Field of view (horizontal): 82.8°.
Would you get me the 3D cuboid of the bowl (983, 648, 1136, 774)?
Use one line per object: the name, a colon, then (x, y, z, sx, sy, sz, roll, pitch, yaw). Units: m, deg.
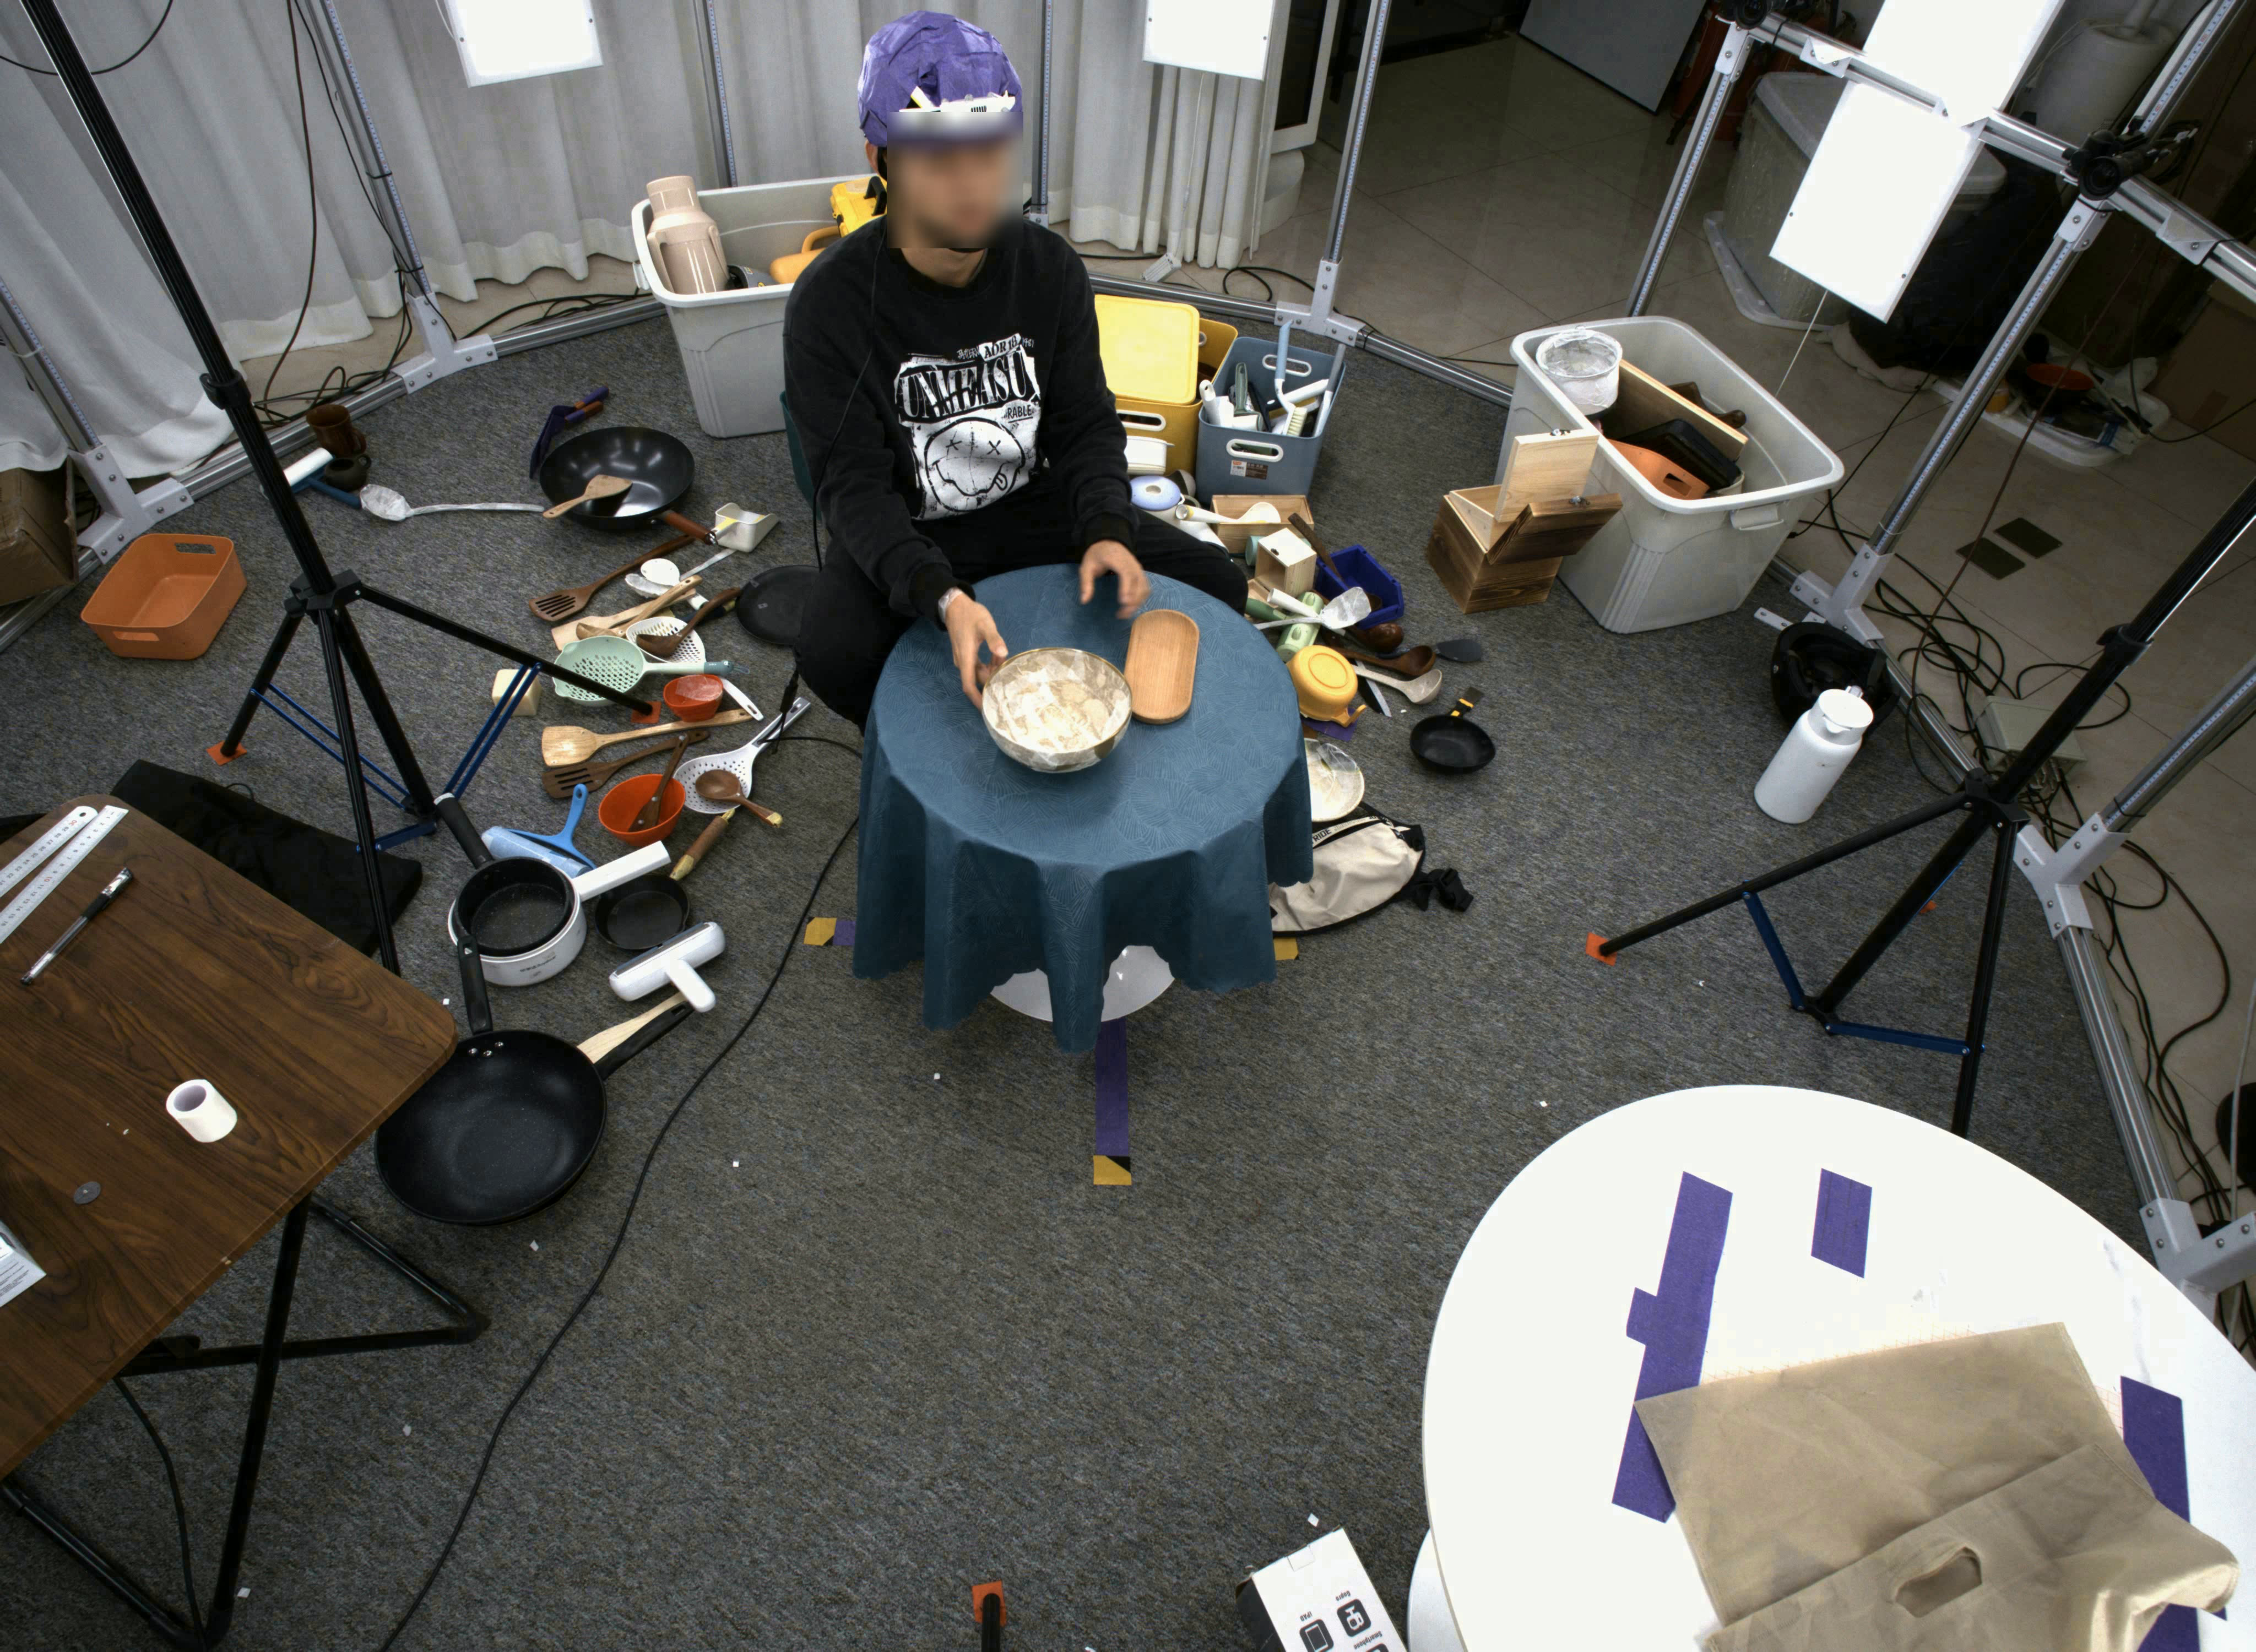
bowl: (-0.091, -0.143, 1.741, 0.214, 0.092, 0.220, 1, 48, -1)

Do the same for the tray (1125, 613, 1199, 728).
tray: (0.049, -0.230, 1.878, 0.102, 0.020, 0.237, 5, 50, 3)
